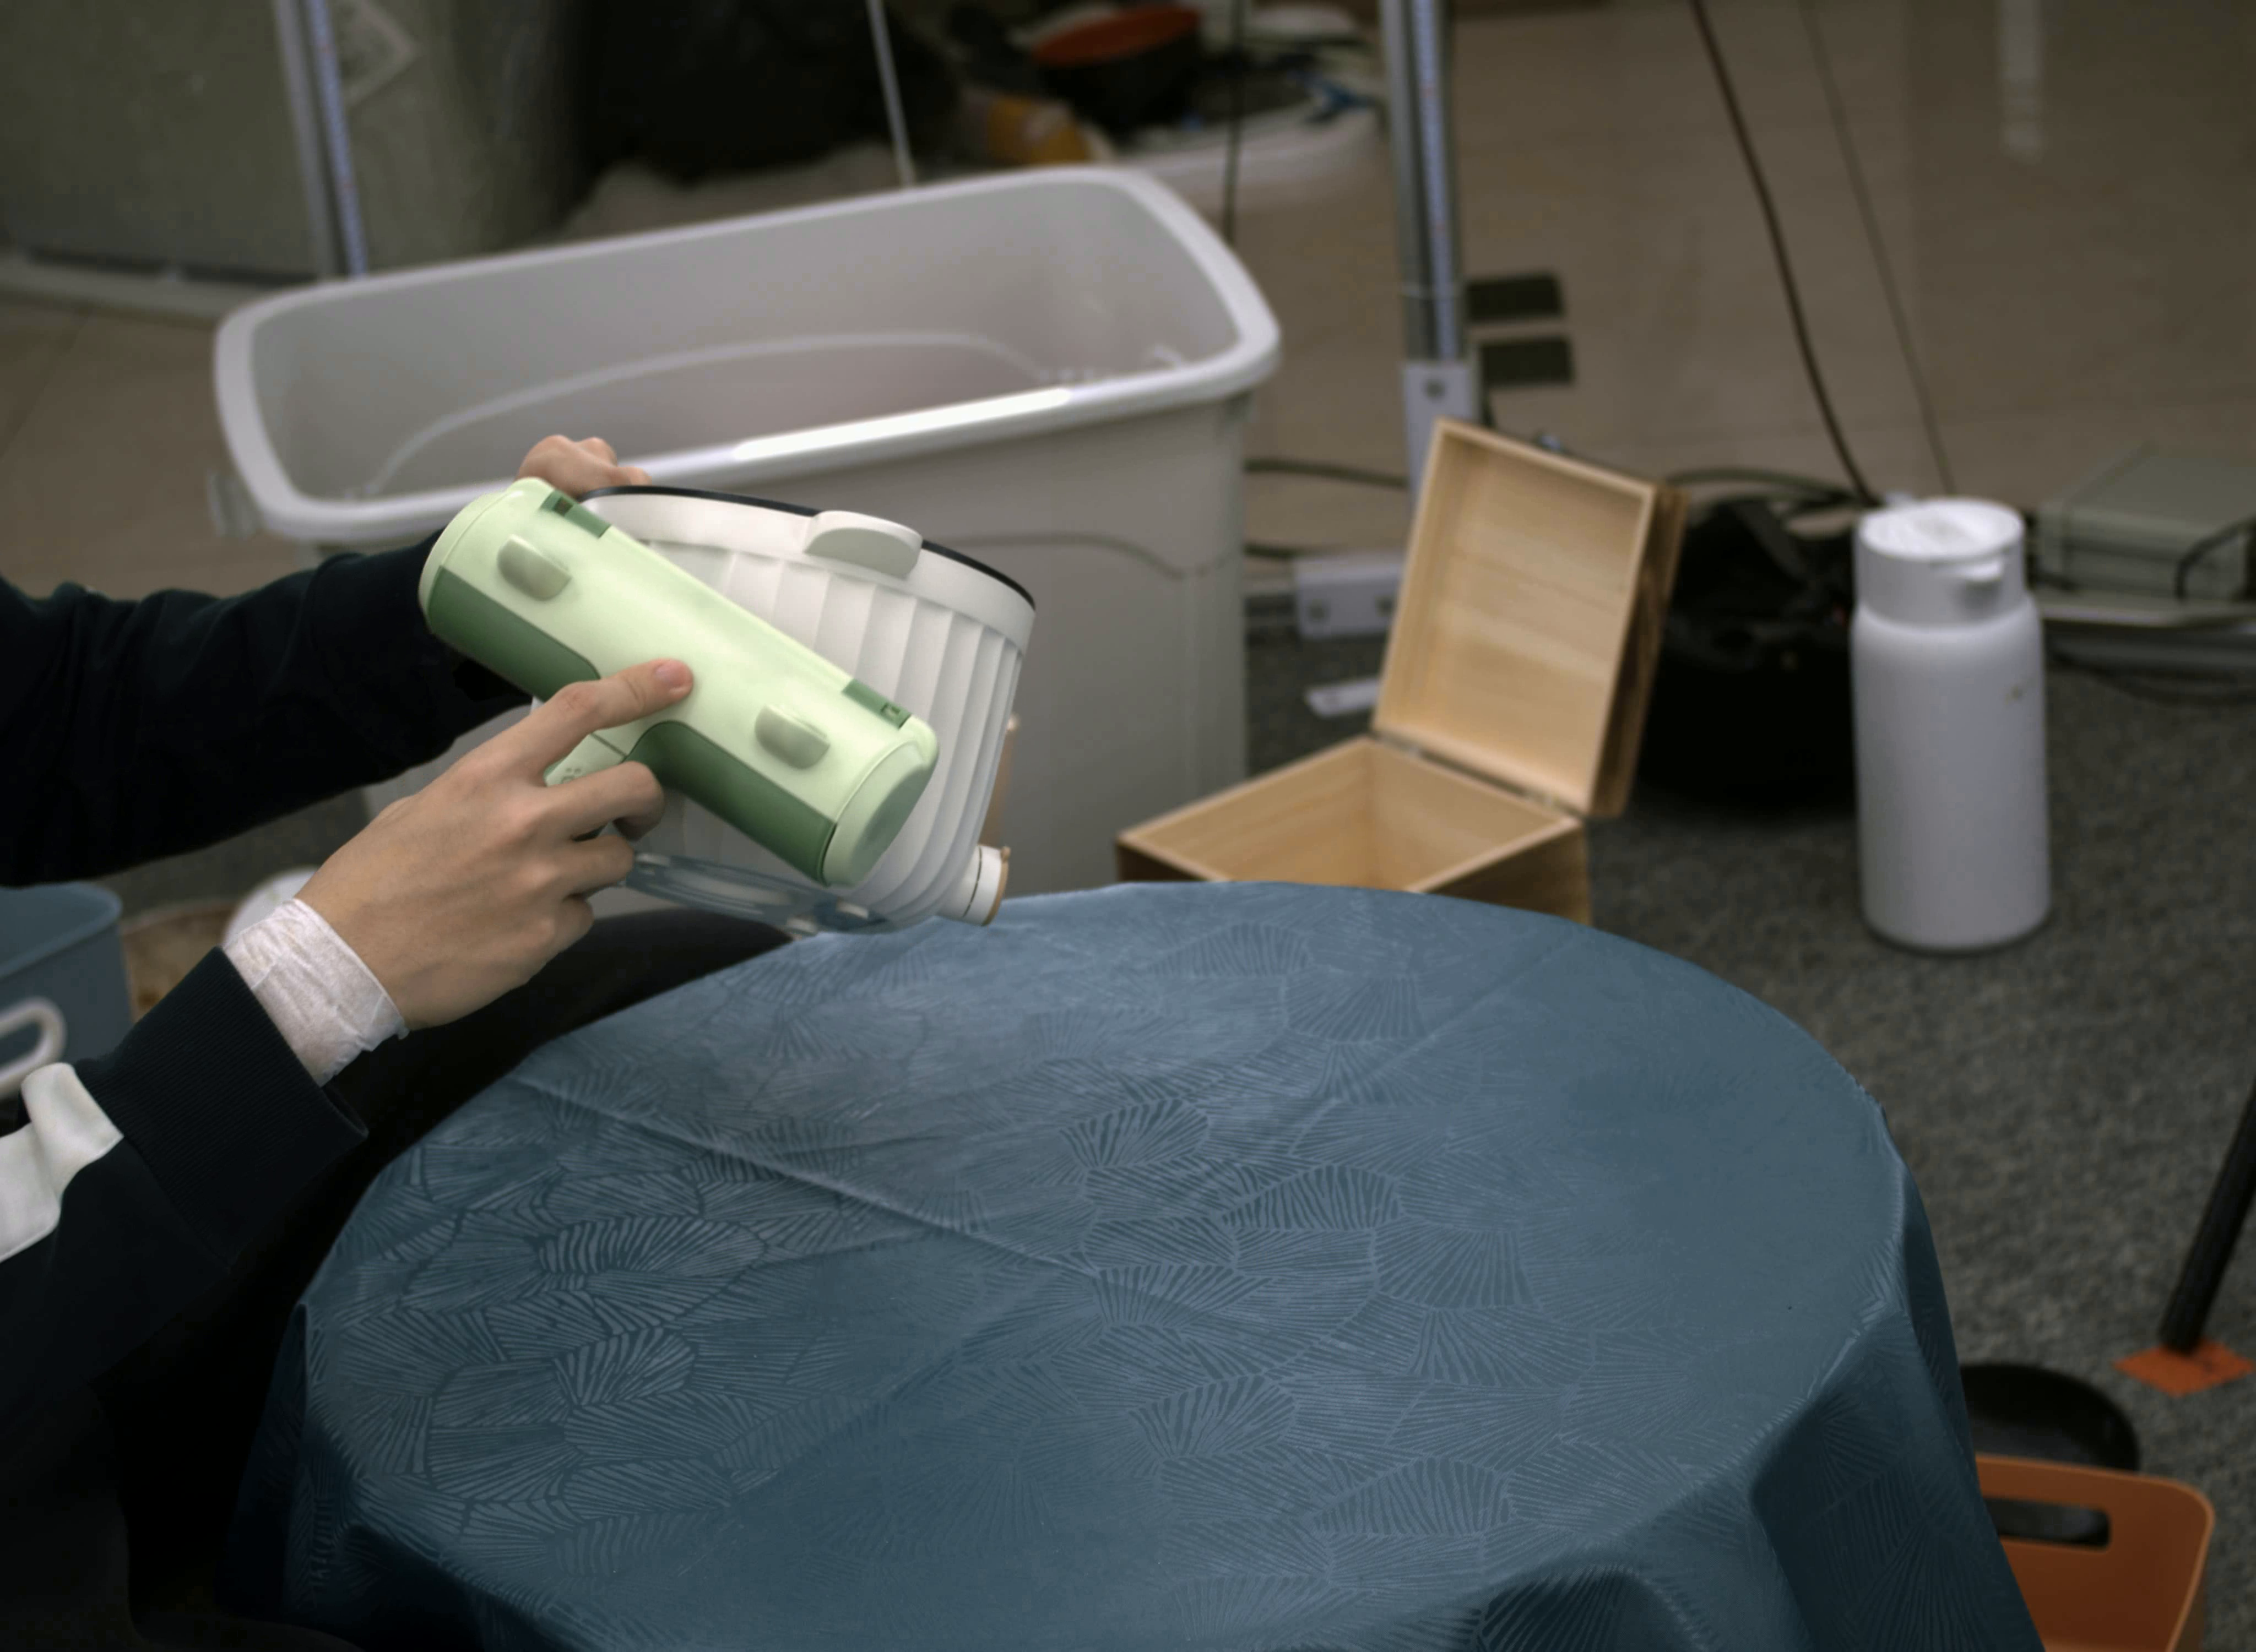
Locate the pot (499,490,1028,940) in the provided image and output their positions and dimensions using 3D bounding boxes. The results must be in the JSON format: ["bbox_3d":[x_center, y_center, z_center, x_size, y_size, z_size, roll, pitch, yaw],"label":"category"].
[{"bbox_3d":[-0.134,-0.036,2.144,0.191,0.142,0.241,12,-8,-16],"label":"pot"}]

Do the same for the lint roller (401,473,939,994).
[{"bbox_3d":[-0.195,-0.021,1.997,0.197,0.083,0.181,33,60,14],"label":"lint roller"}]
